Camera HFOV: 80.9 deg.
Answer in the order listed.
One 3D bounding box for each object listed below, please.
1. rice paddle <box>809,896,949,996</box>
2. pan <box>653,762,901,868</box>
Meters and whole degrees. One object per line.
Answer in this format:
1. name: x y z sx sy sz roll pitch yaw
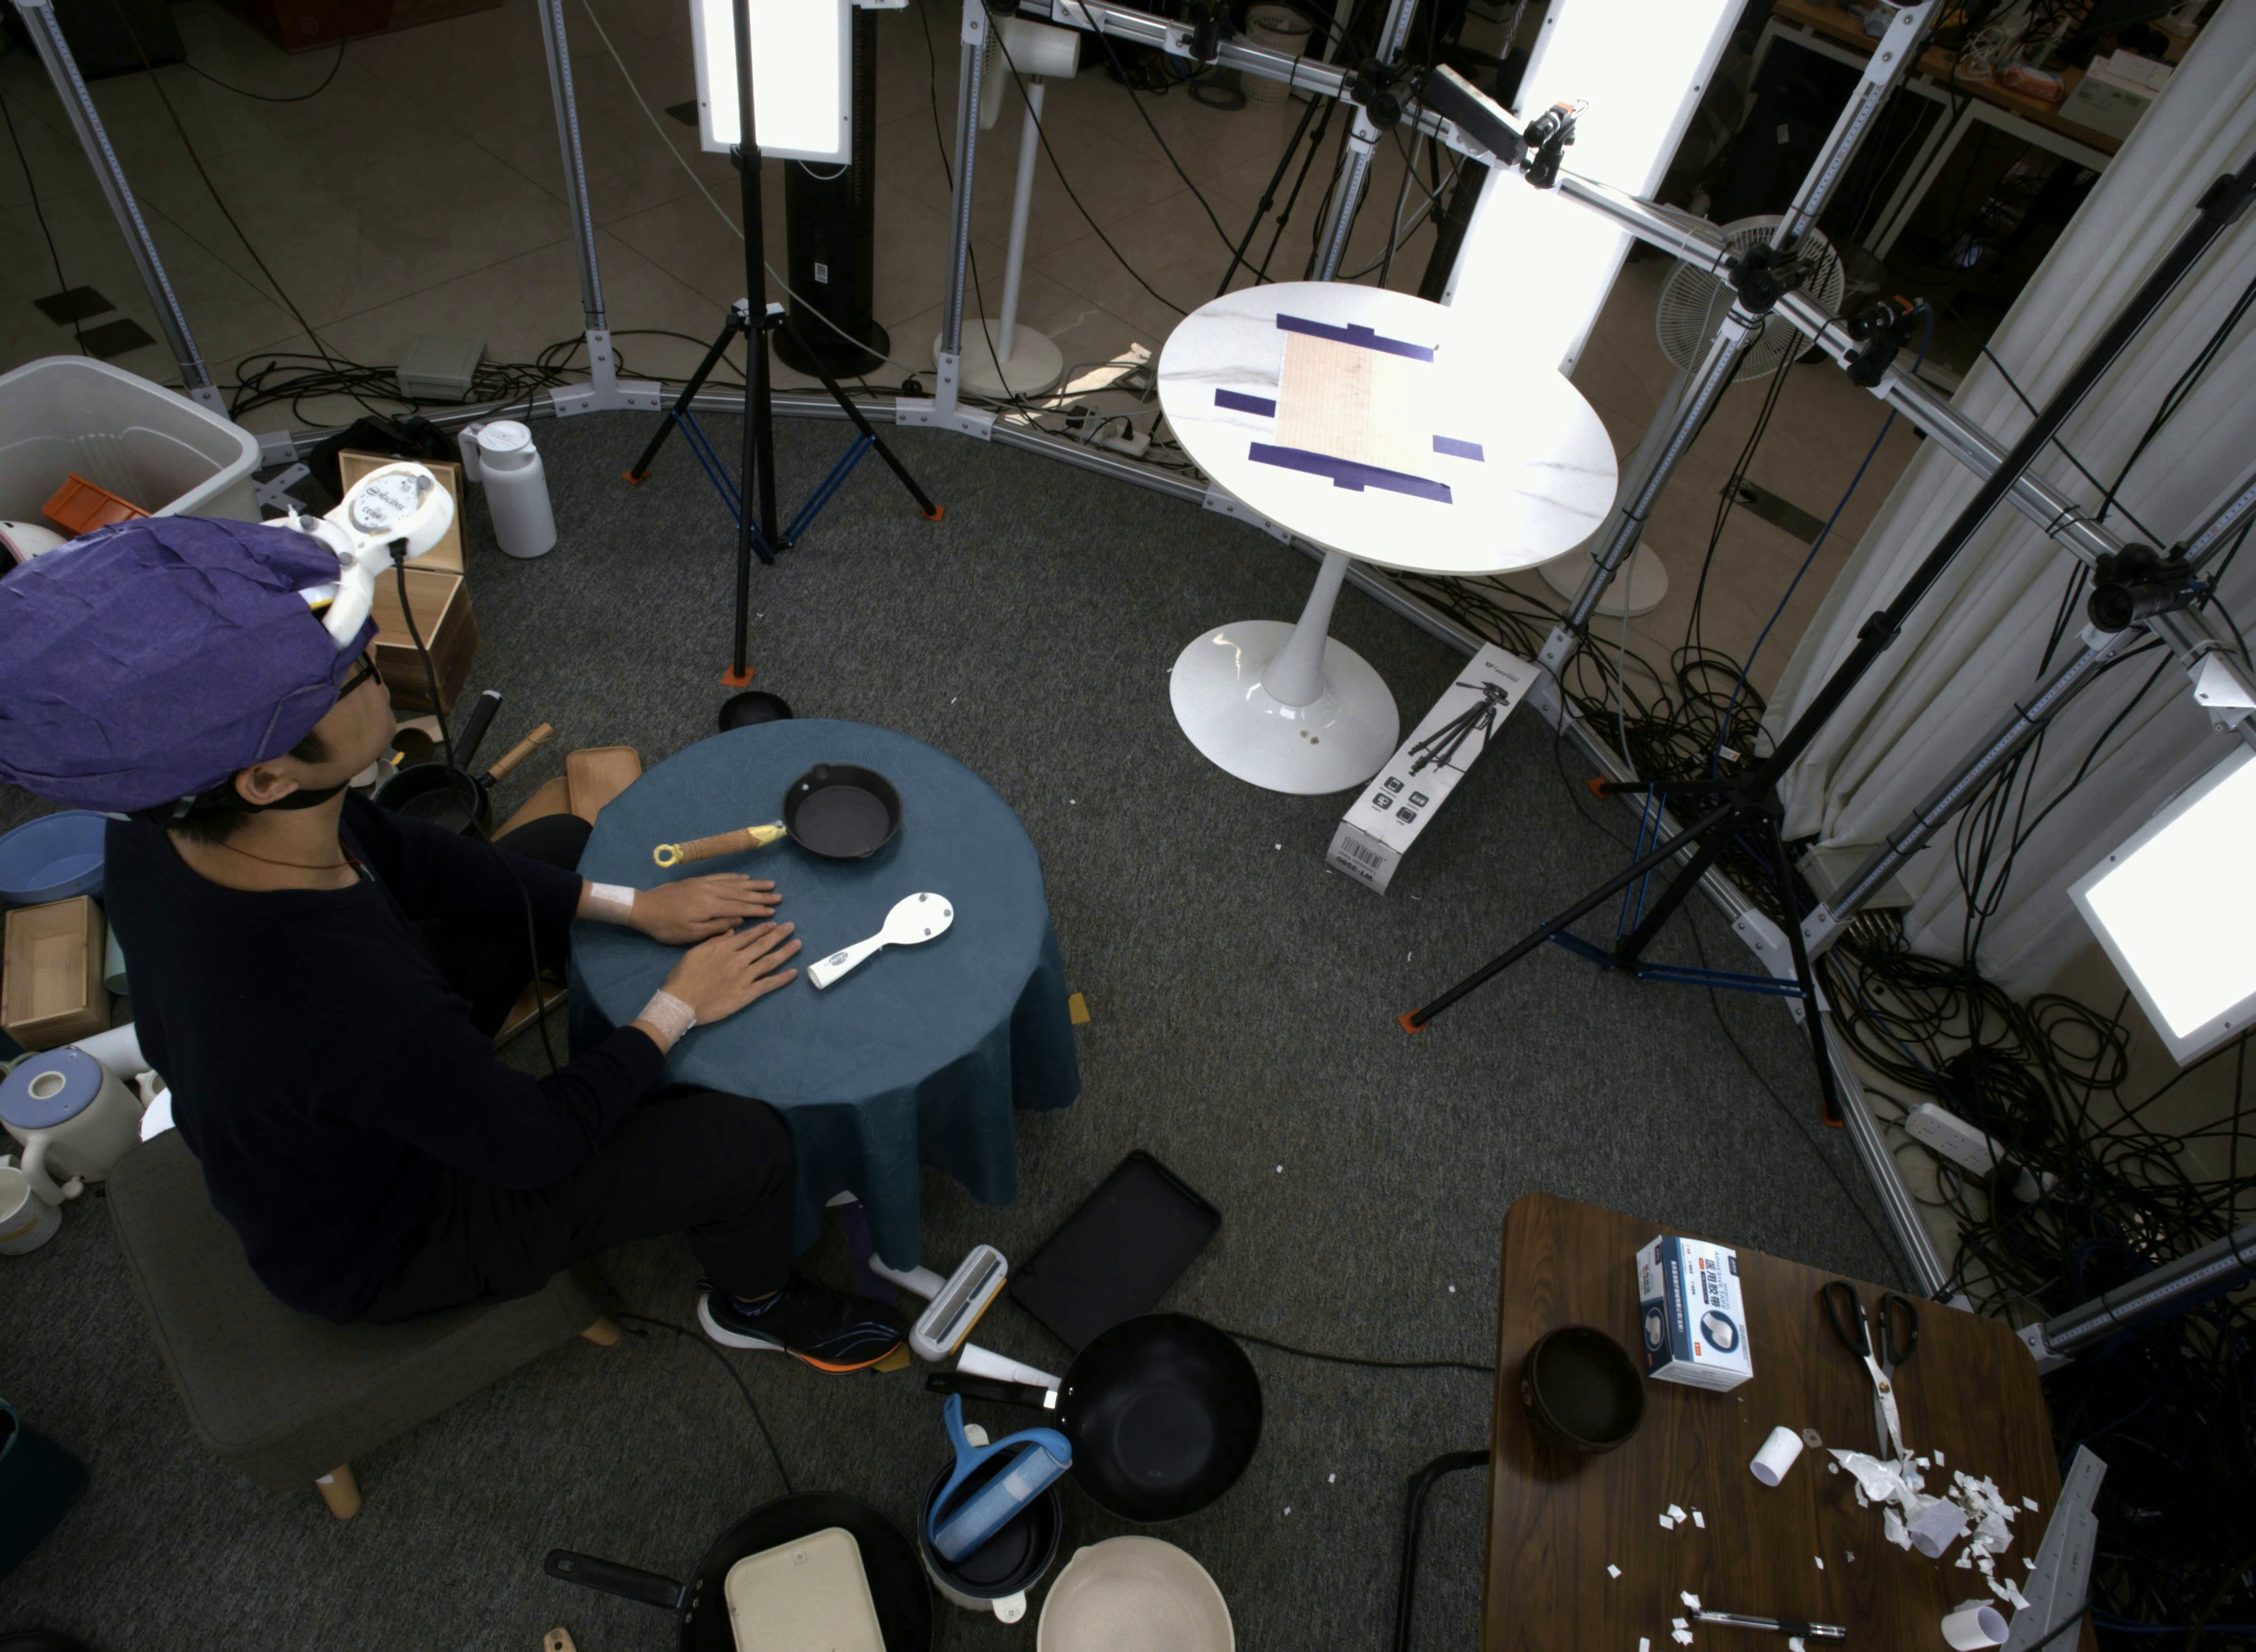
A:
1. rice paddle: -0.307 0.142 1.625 0.066 0.030 0.206 34 50 28
2. pan: -0.451 0.003 1.671 0.326 0.050 0.165 -16 60 -27
